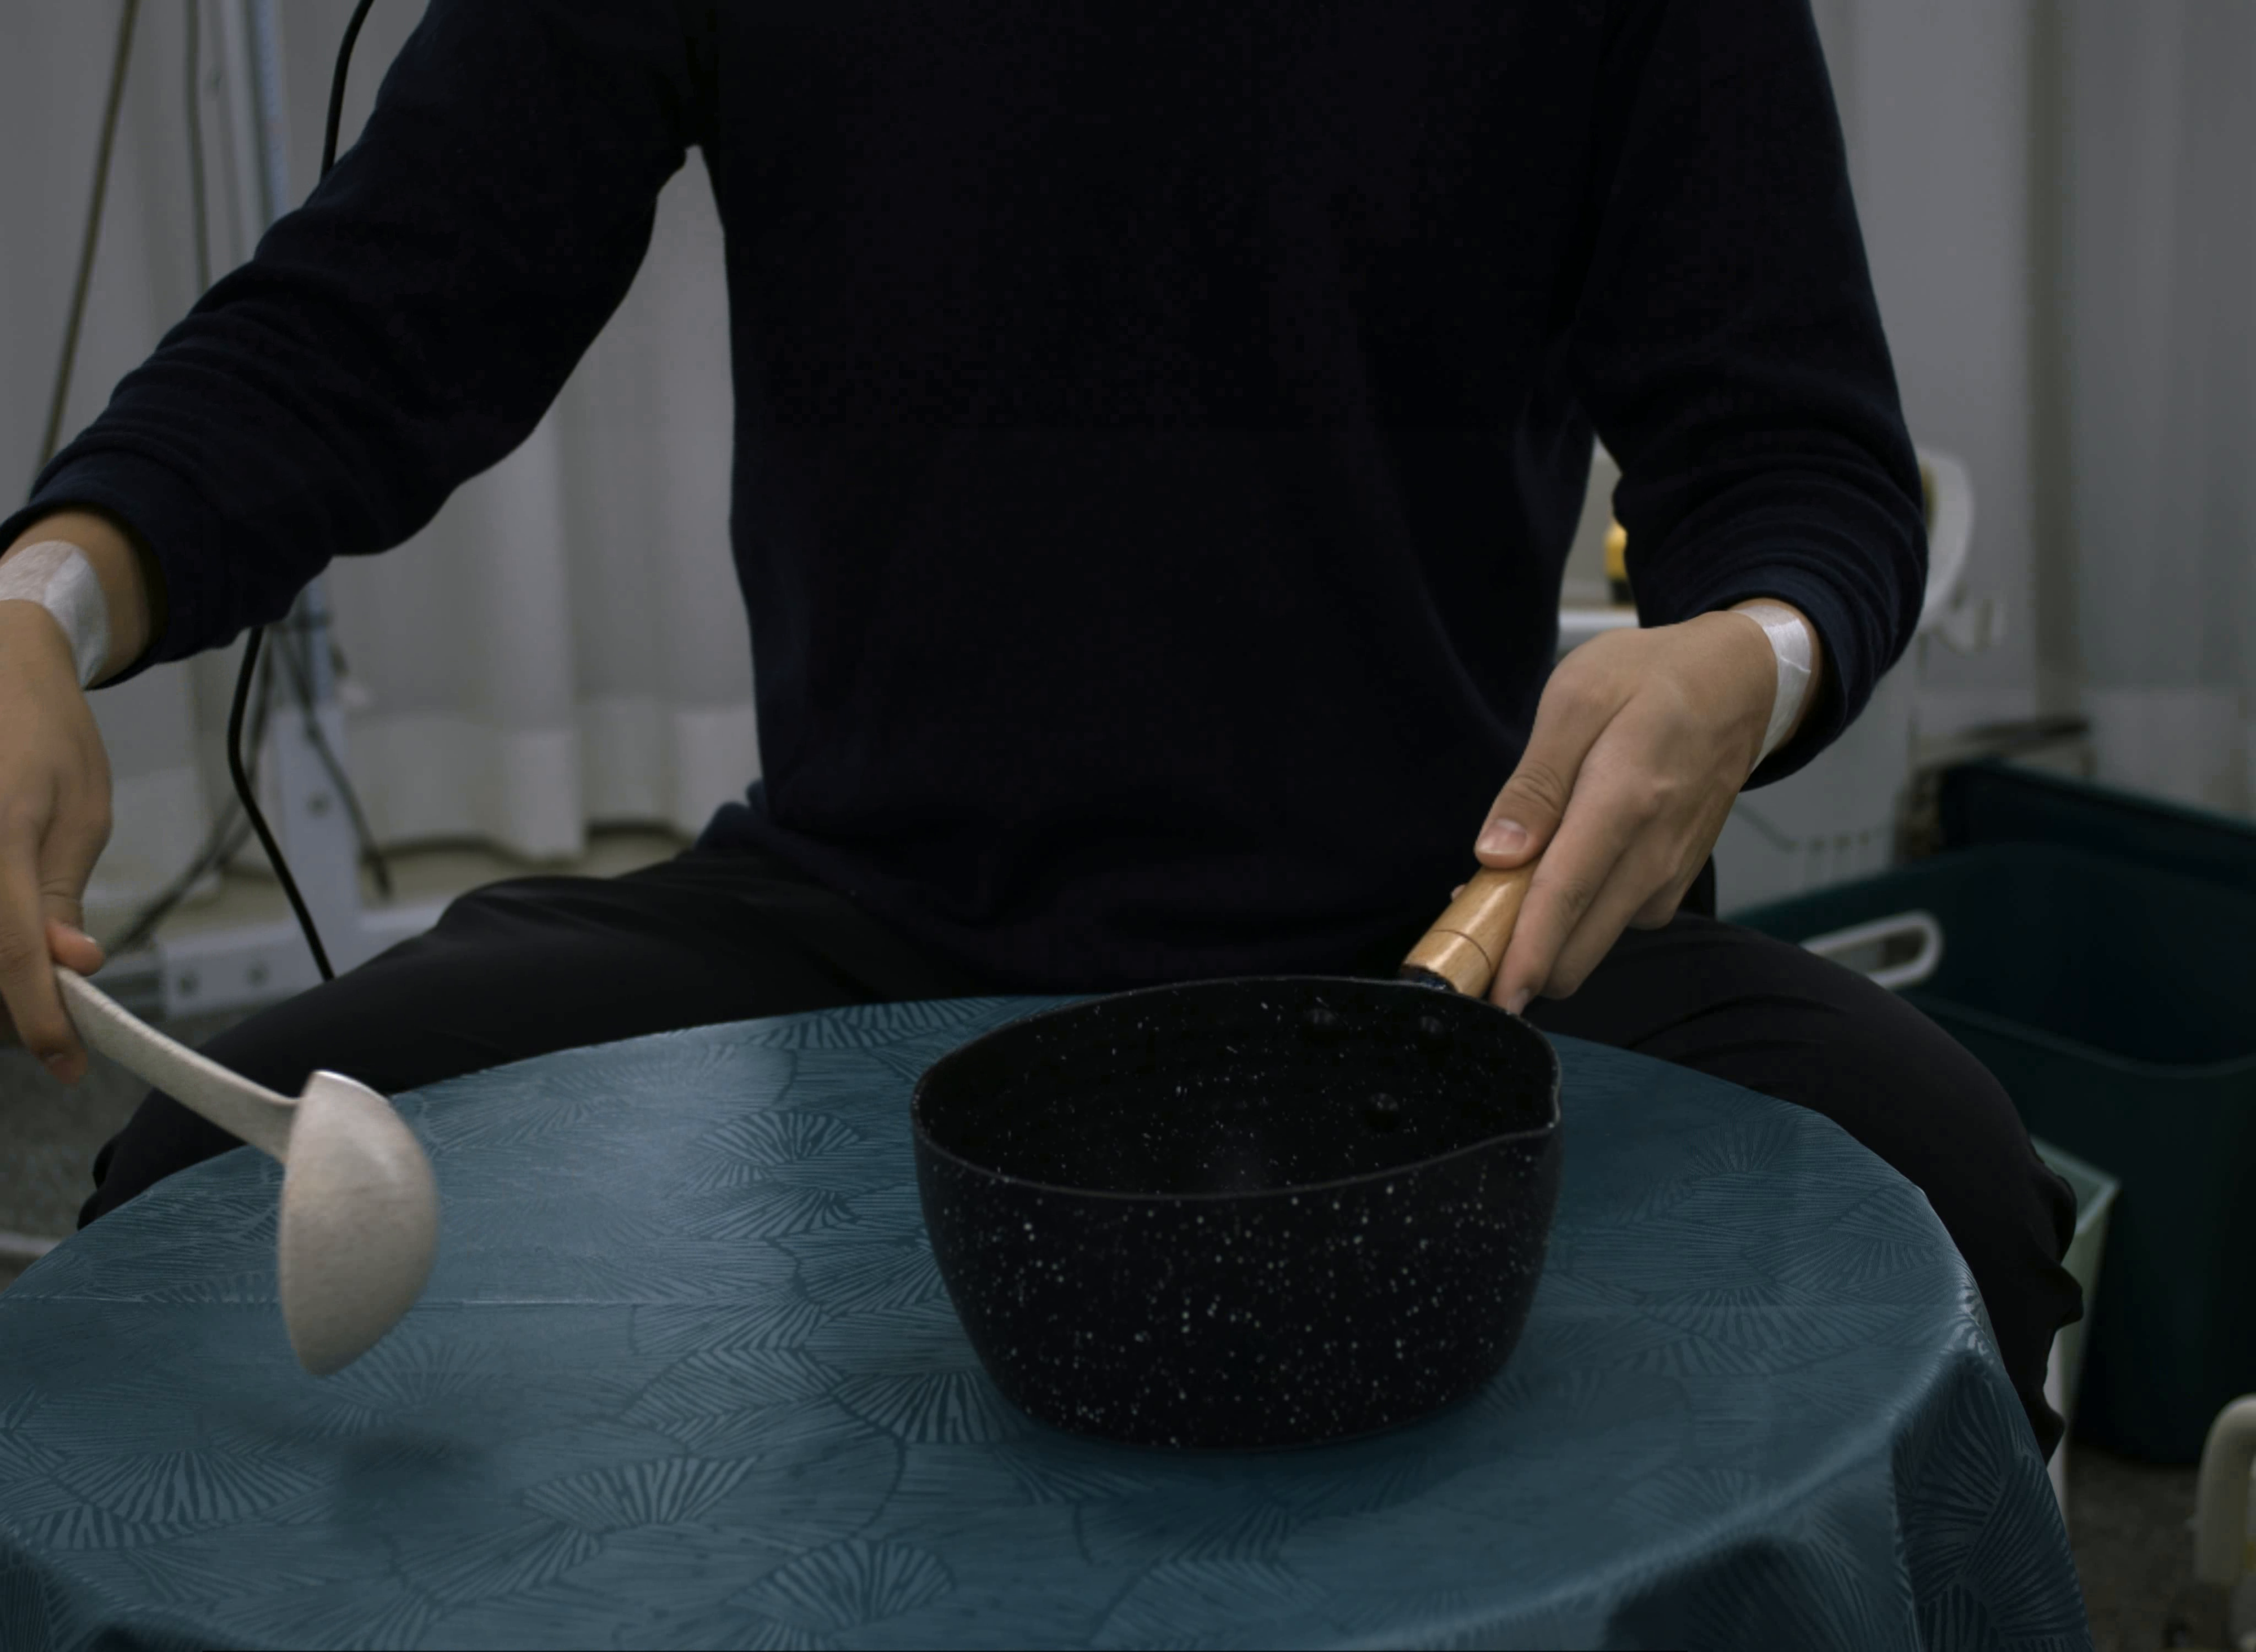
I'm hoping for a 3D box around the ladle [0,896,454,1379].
[{"bbox_3d":[-0.294,0.075,1.594,0.069,0.088,0.277,-31,40,-34],"label":"ladle"}]

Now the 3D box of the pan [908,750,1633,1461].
[{"bbox_3d":[0.070,0.077,1.615,0.208,0.107,0.344,4,20,29],"label":"pan"}]
